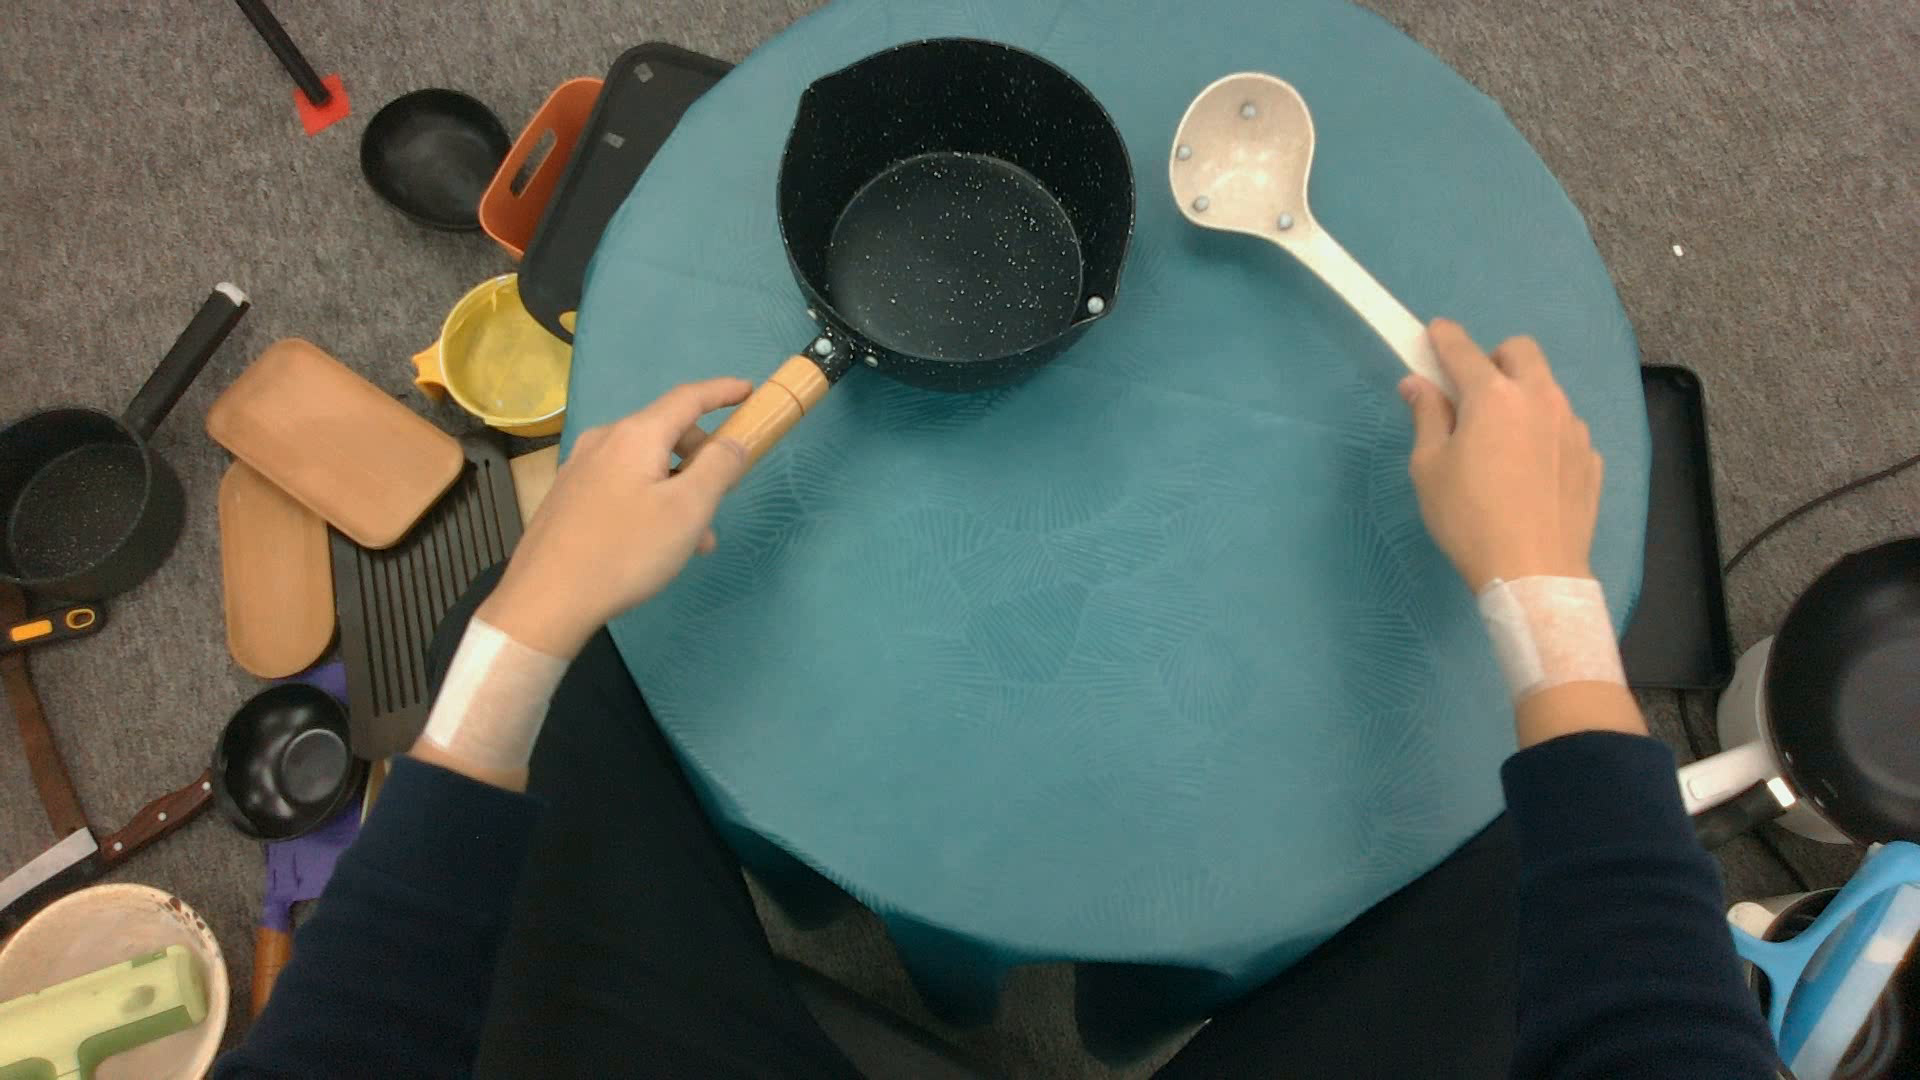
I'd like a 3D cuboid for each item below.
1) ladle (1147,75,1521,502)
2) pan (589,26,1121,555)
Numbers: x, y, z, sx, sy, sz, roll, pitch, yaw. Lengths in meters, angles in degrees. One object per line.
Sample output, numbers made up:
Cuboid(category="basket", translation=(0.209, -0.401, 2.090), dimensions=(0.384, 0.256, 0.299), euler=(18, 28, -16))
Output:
Cuboid(category="ladle", translation=(0.201, -0.135, 0.719), dimensions=(0.089, 0.069, 0.275), euler=(-31, 64, -10))
Cuboid(category="pan", translation=(-0.058, -0.113, 0.712), dimensions=(0.207, 0.108, 0.344), euler=(36, 75, 7))
